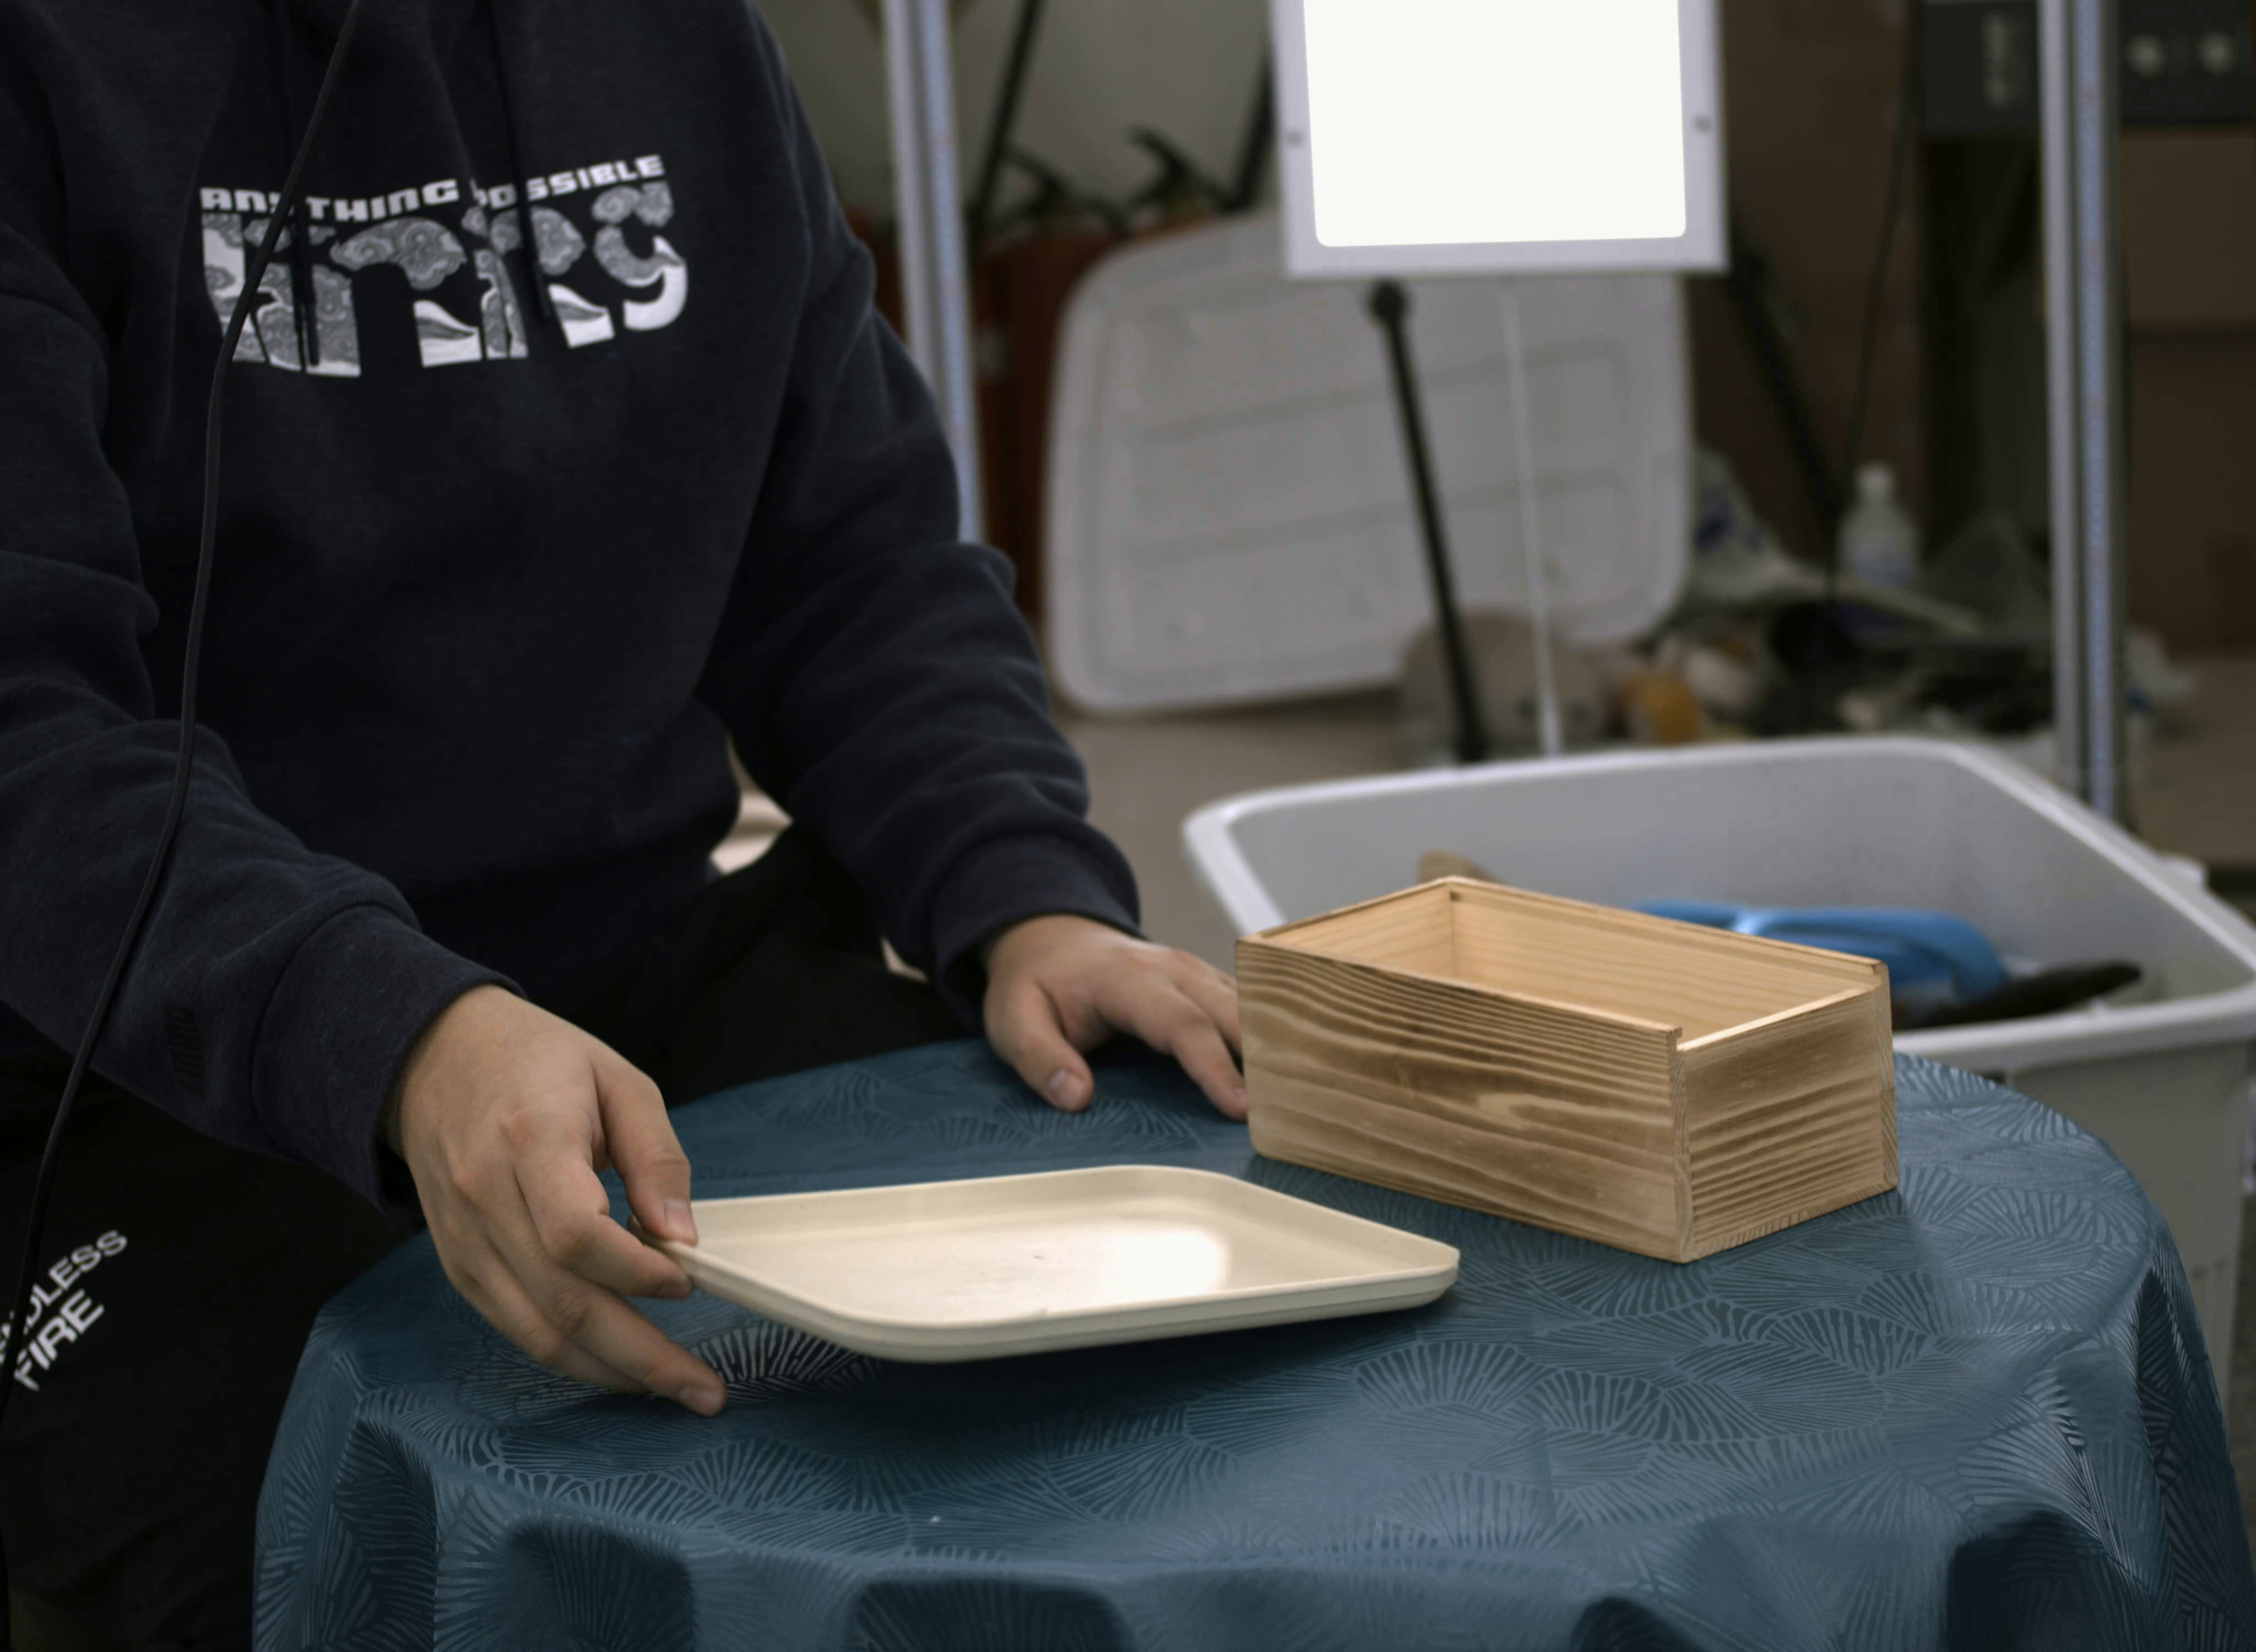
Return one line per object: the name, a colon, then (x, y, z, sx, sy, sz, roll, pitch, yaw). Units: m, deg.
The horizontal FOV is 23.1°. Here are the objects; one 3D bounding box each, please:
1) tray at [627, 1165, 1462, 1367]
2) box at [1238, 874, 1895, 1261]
tray: (-0.026, 0.139, 1.750, 0.234, 0.017, 0.175, -4, 10, -36)
box: (0.148, 0.079, 1.873, 0.105, 0.080, 0.216, -15, 16, -38)
